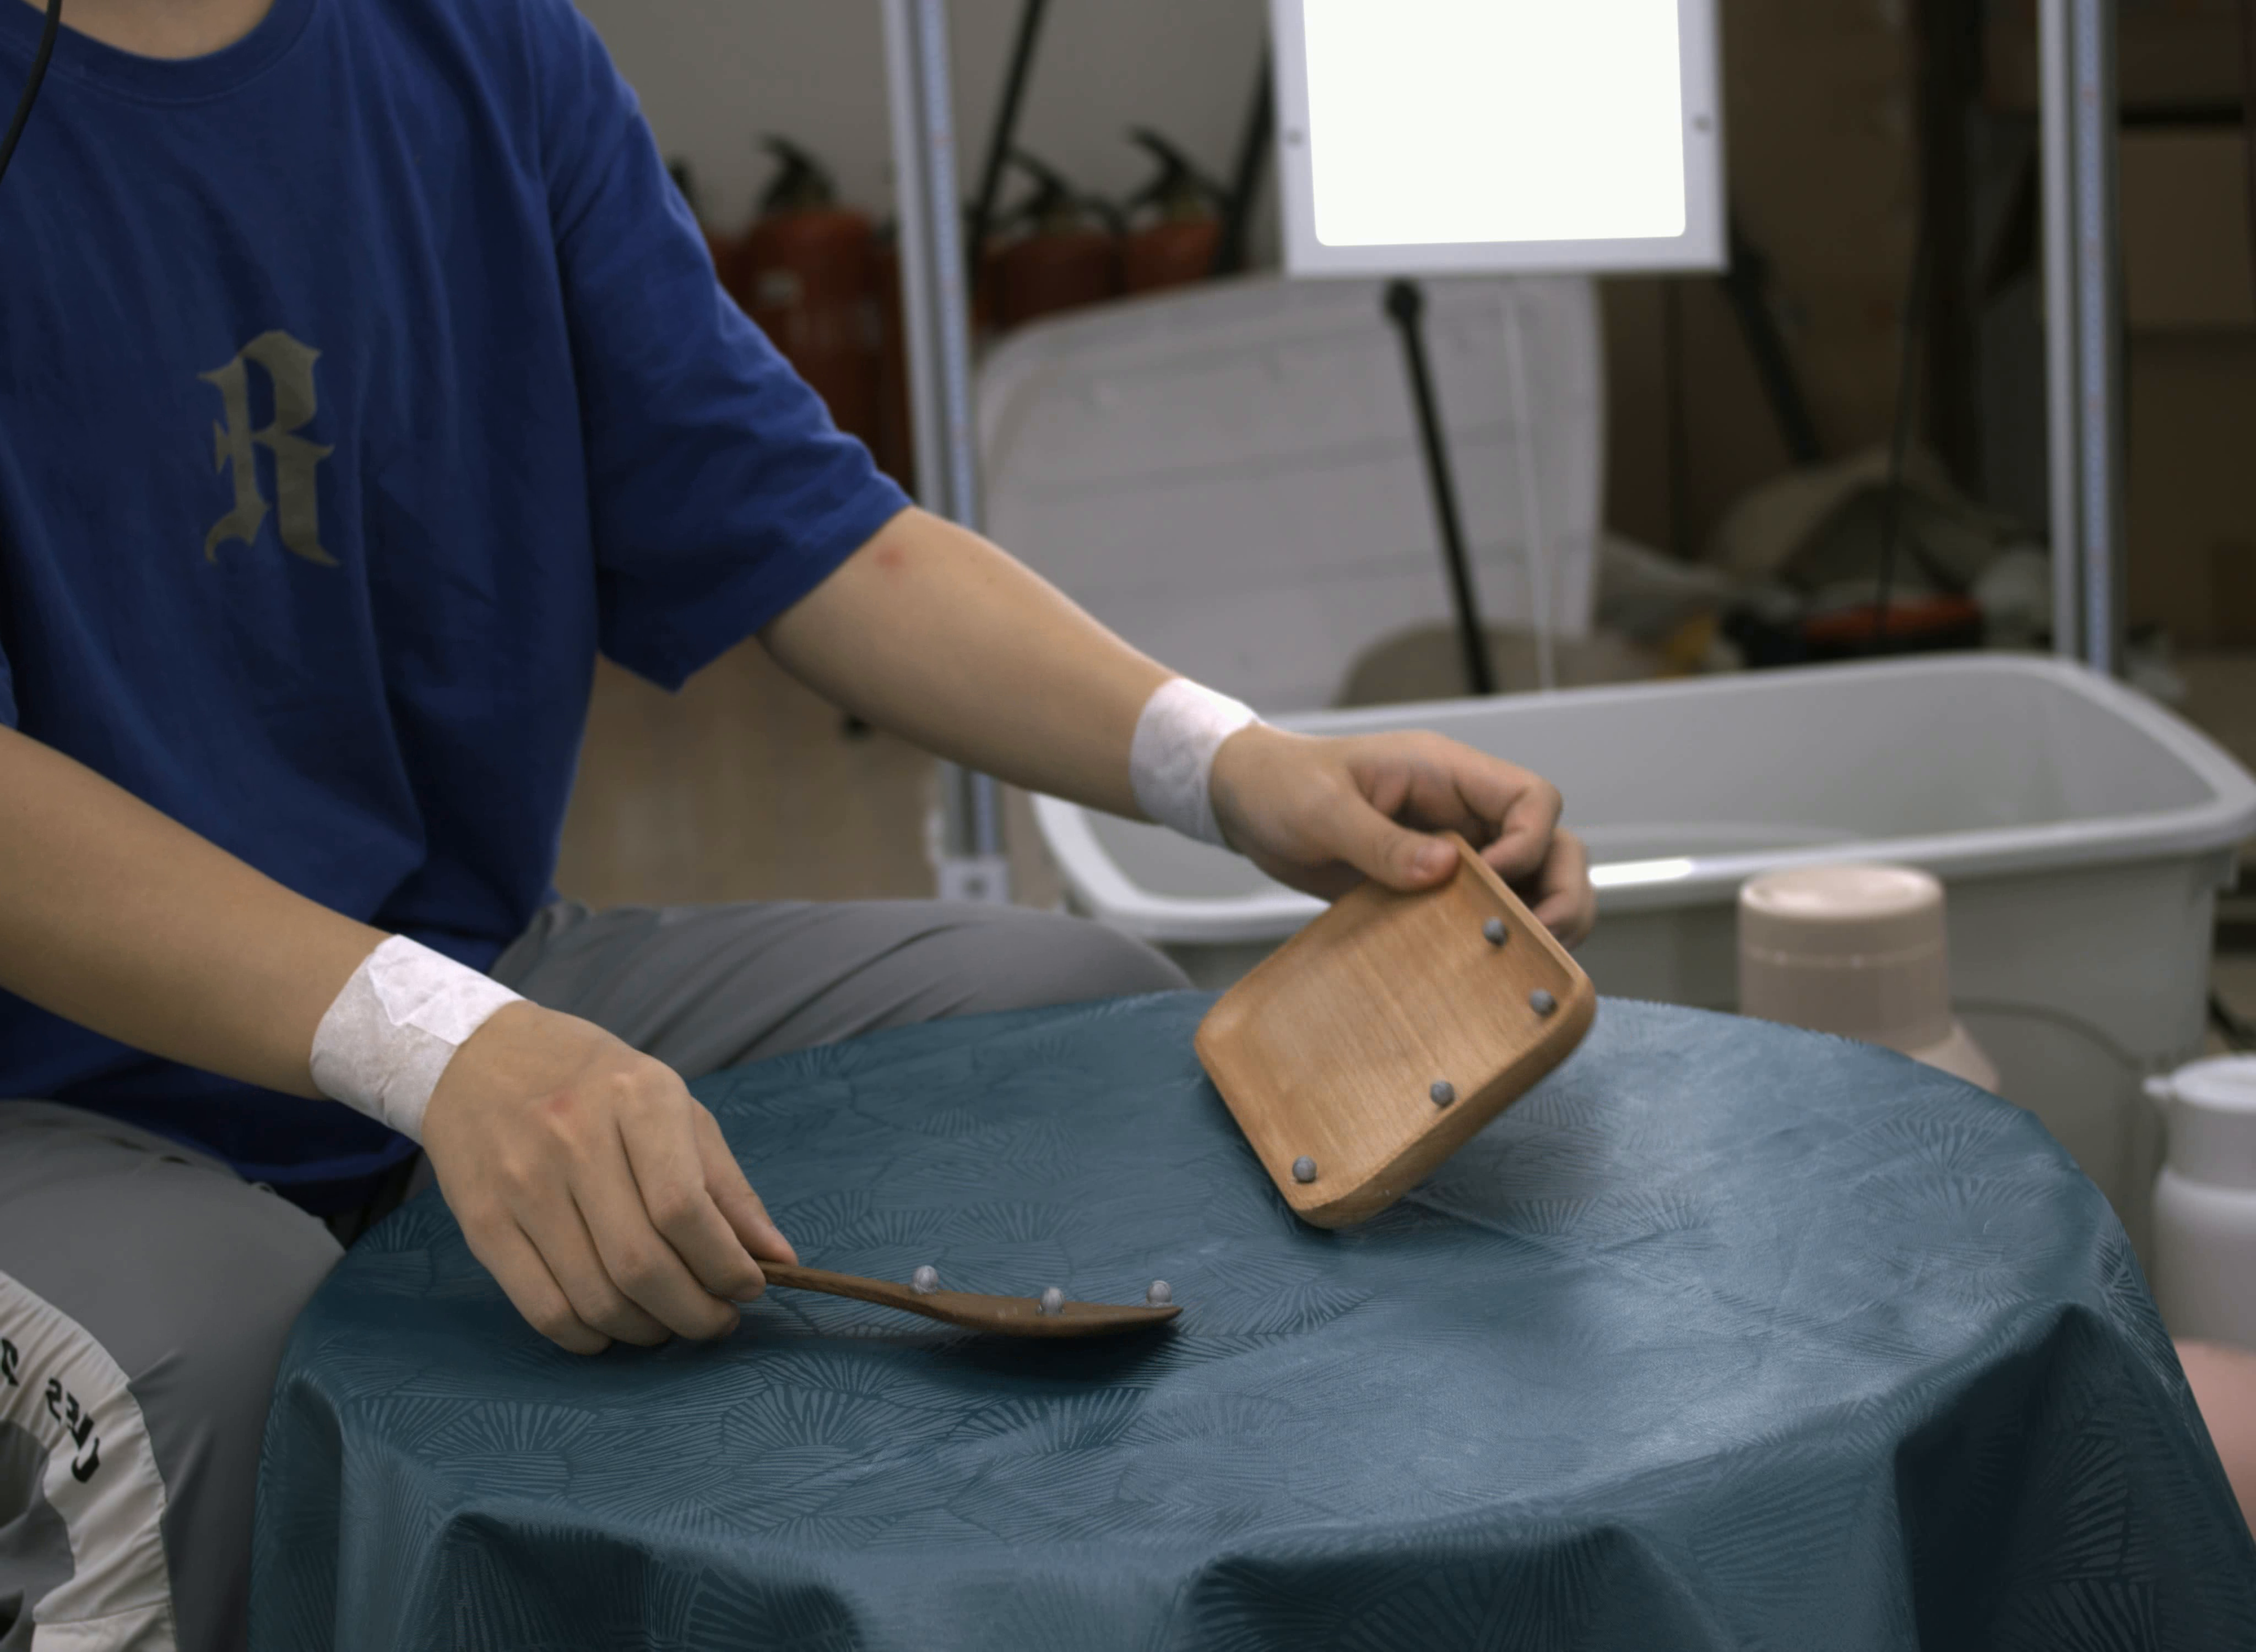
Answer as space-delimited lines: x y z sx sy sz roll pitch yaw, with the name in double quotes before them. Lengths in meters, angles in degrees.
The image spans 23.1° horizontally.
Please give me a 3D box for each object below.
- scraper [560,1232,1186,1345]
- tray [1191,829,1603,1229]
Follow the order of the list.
"scraper" -0.086 0.148 1.769 0.214 0.011 0.074 7 4 24
"tray" 0.093 0.069 1.933 0.131 0.023 0.251 -35 16 2
